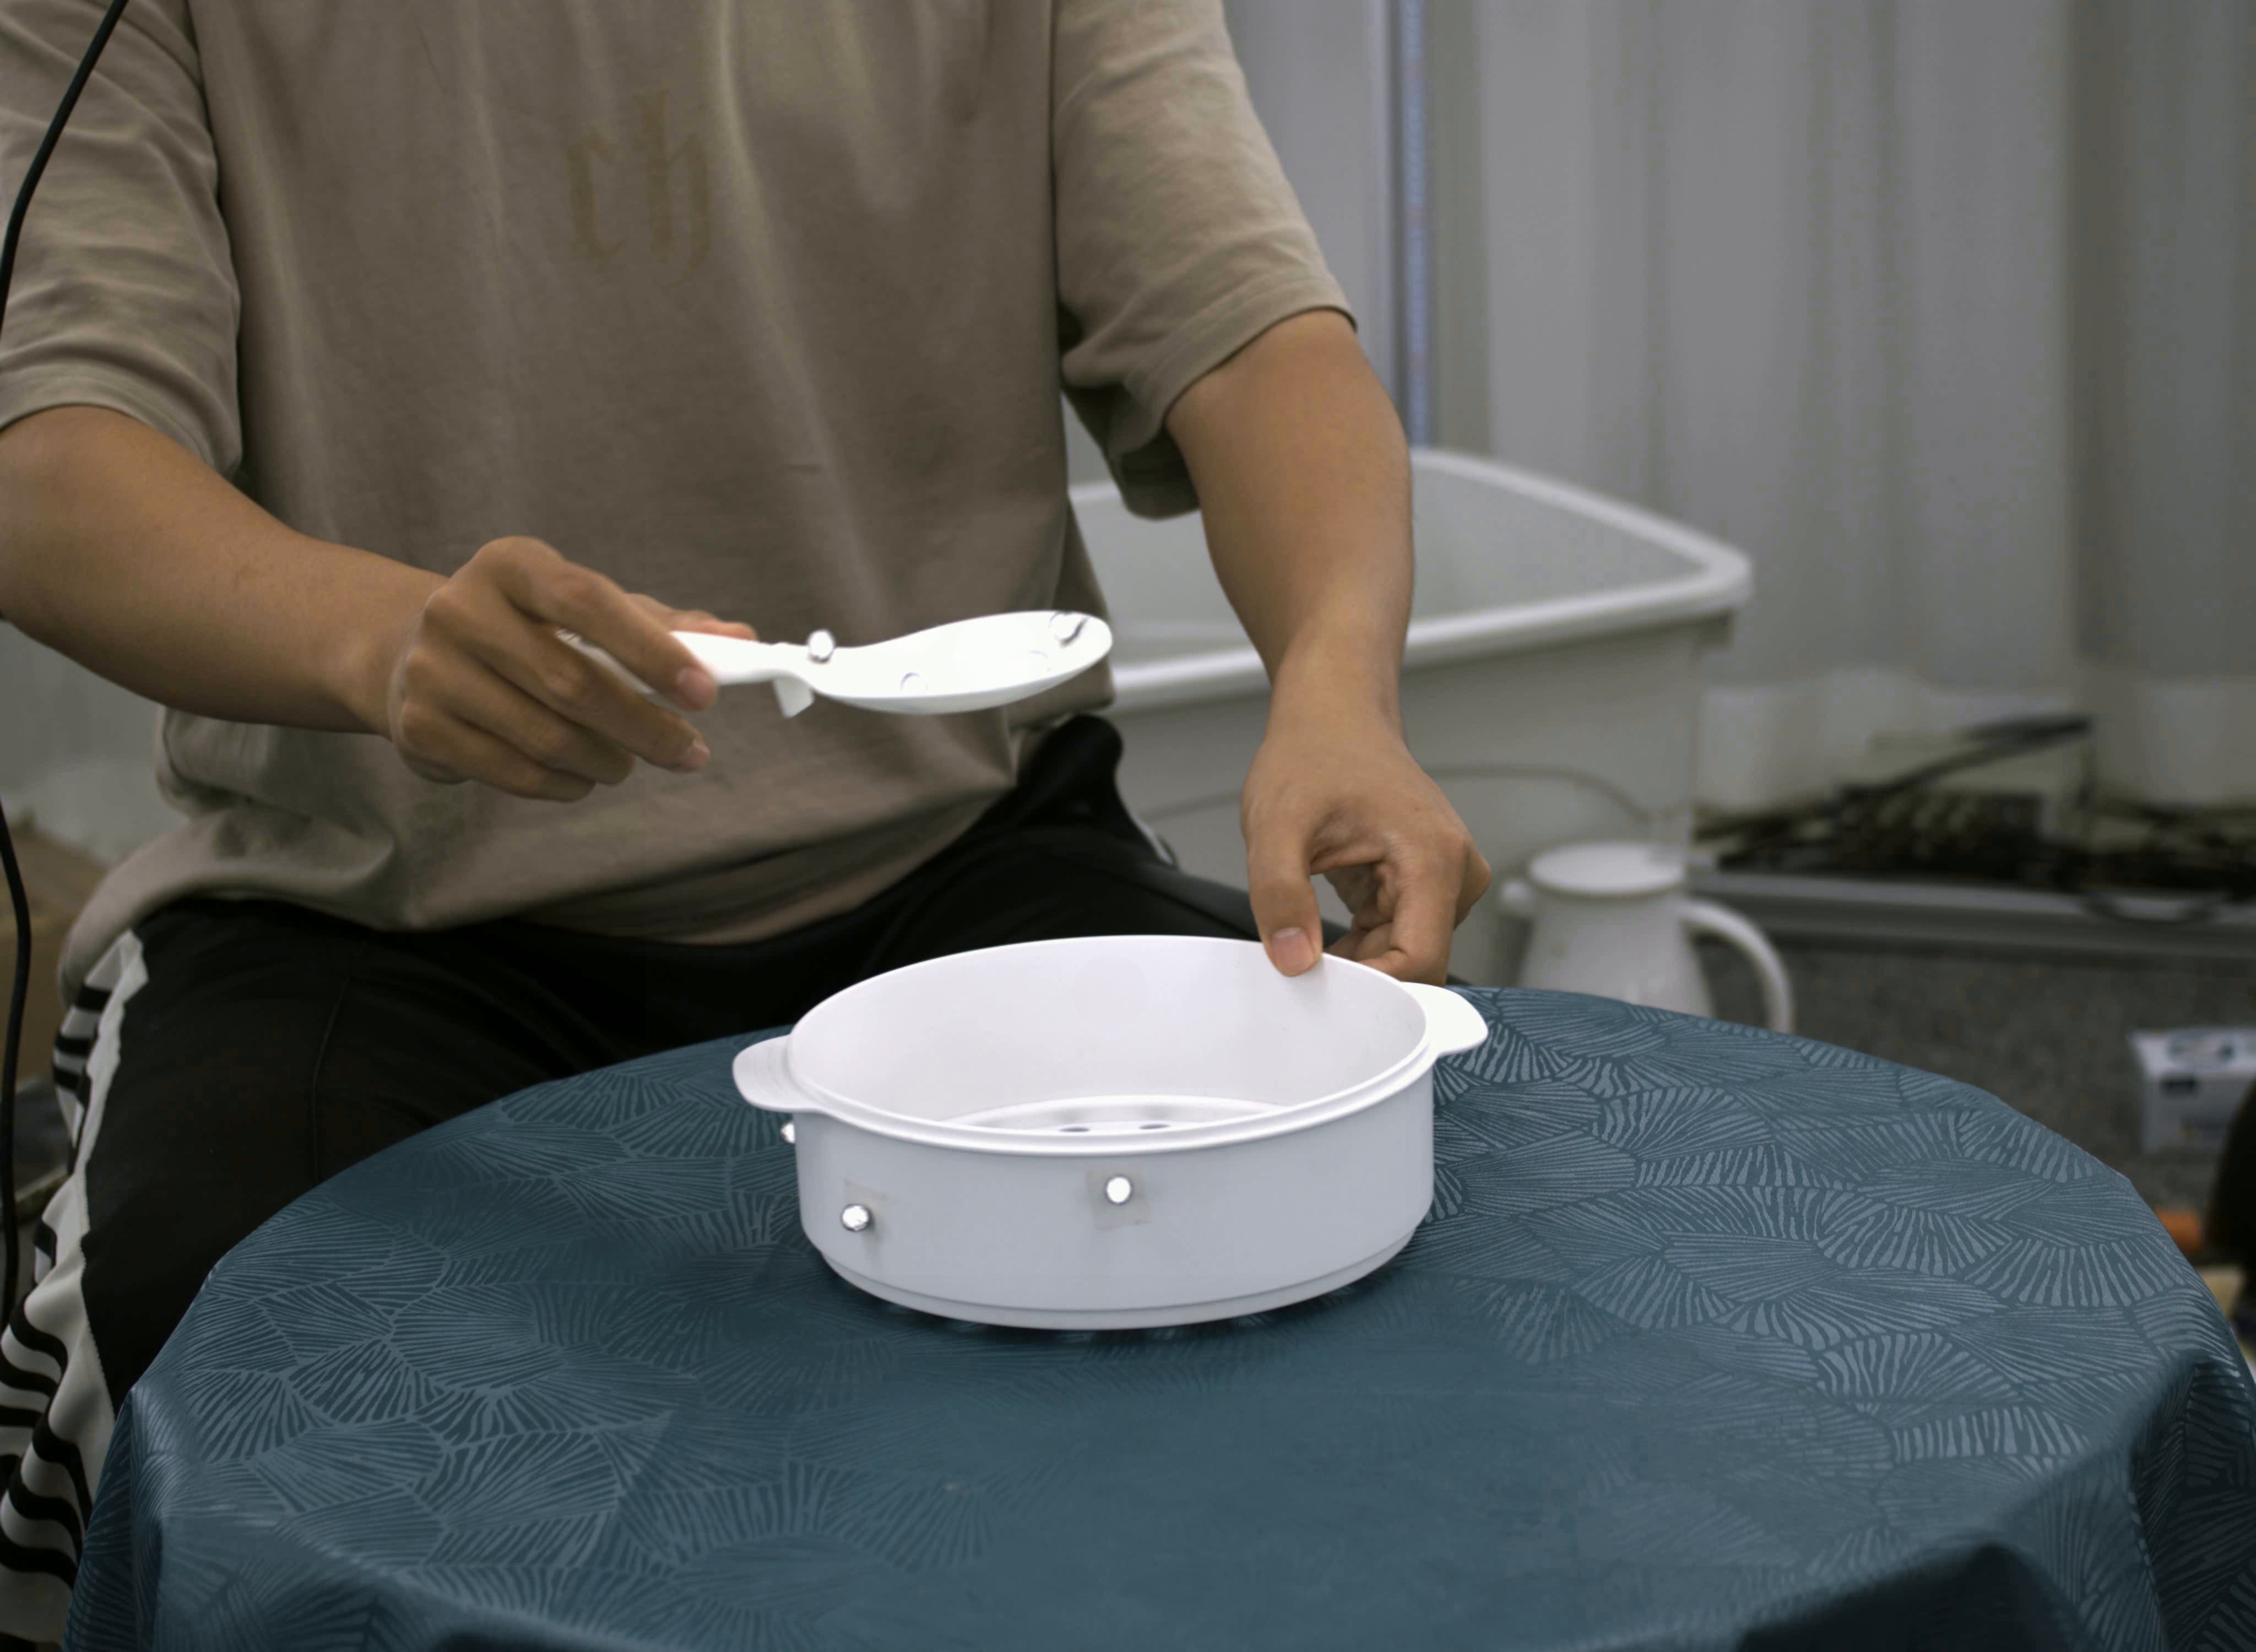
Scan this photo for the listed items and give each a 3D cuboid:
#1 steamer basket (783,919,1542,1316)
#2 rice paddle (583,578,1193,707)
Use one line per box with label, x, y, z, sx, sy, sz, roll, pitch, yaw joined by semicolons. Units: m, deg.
steamer basket;0.011;0.089;1.664;0.229;0.069;0.203;-3;16;-9
rice paddle;-0.071;-0.056;1.603;0.205;0.029;0.069;-3;21;33
